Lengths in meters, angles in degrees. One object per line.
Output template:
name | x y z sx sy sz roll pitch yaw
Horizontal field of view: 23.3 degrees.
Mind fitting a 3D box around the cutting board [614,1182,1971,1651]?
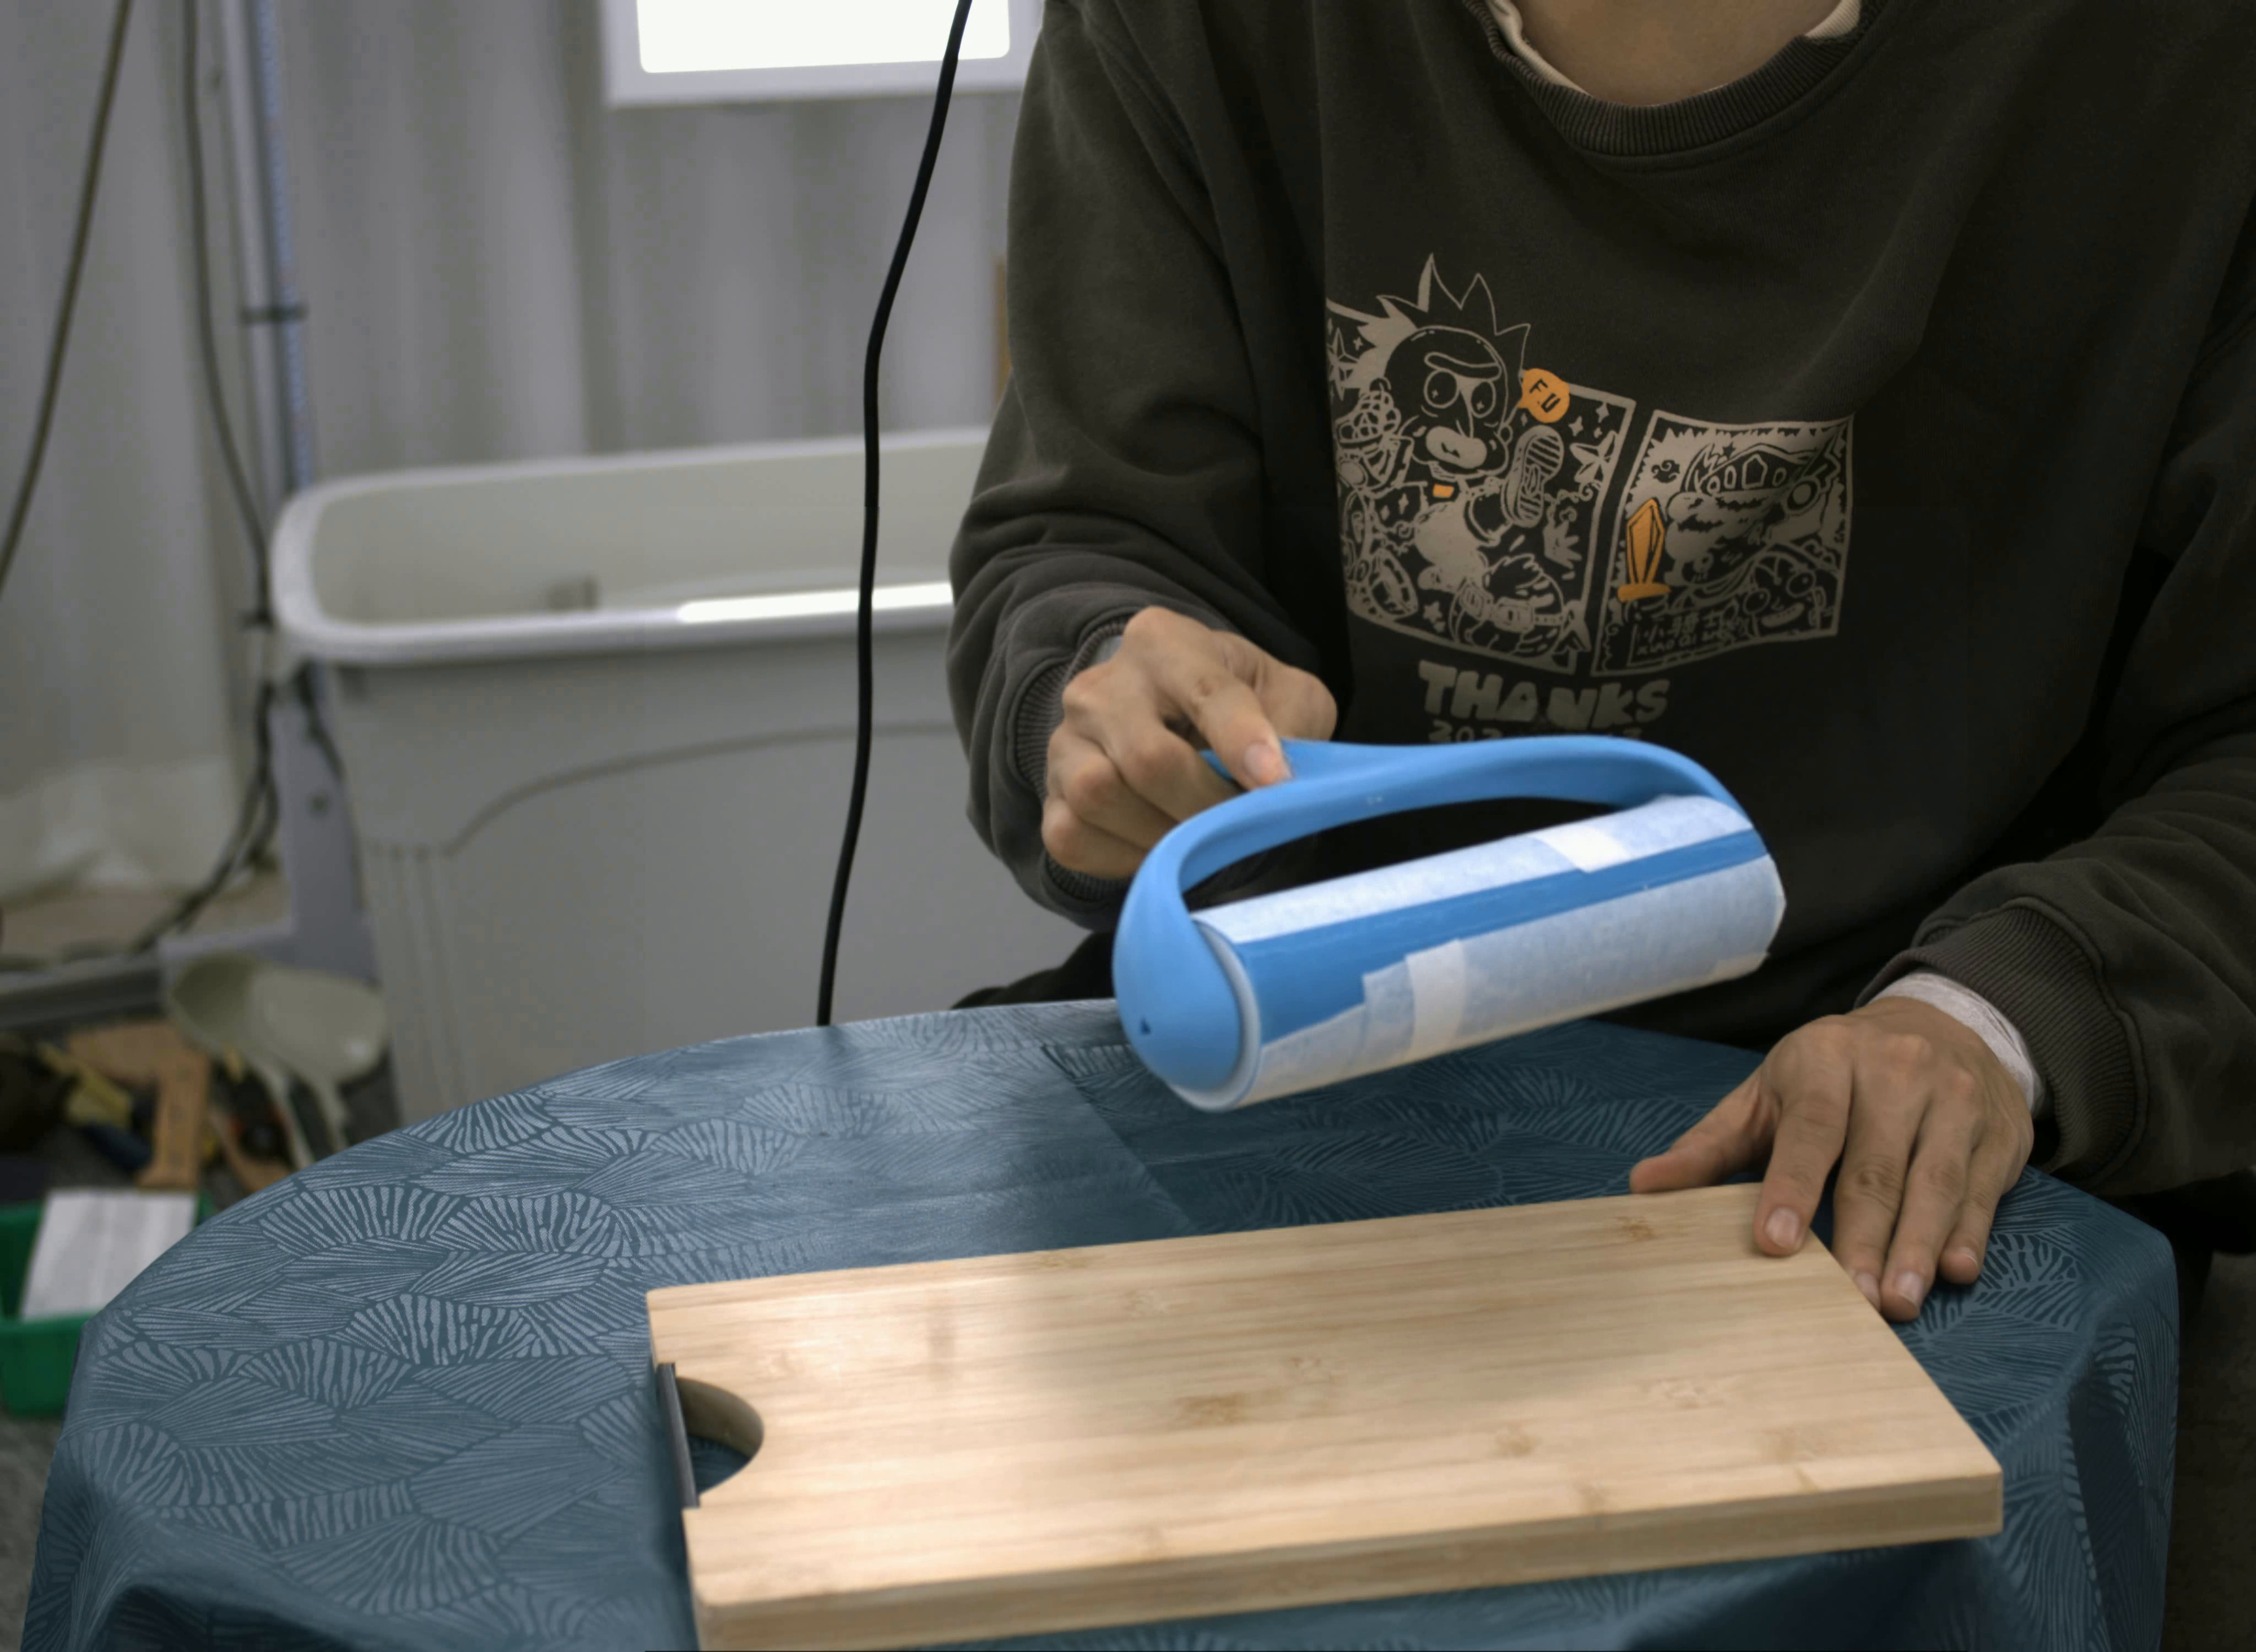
cutting board | 0.037 0.162 1.510 0.347 0.023 0.252 -5 15 -8

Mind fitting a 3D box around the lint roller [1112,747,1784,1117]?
lint roller | 0.057 0.011 1.555 0.228 0.067 0.182 -14 33 -38
